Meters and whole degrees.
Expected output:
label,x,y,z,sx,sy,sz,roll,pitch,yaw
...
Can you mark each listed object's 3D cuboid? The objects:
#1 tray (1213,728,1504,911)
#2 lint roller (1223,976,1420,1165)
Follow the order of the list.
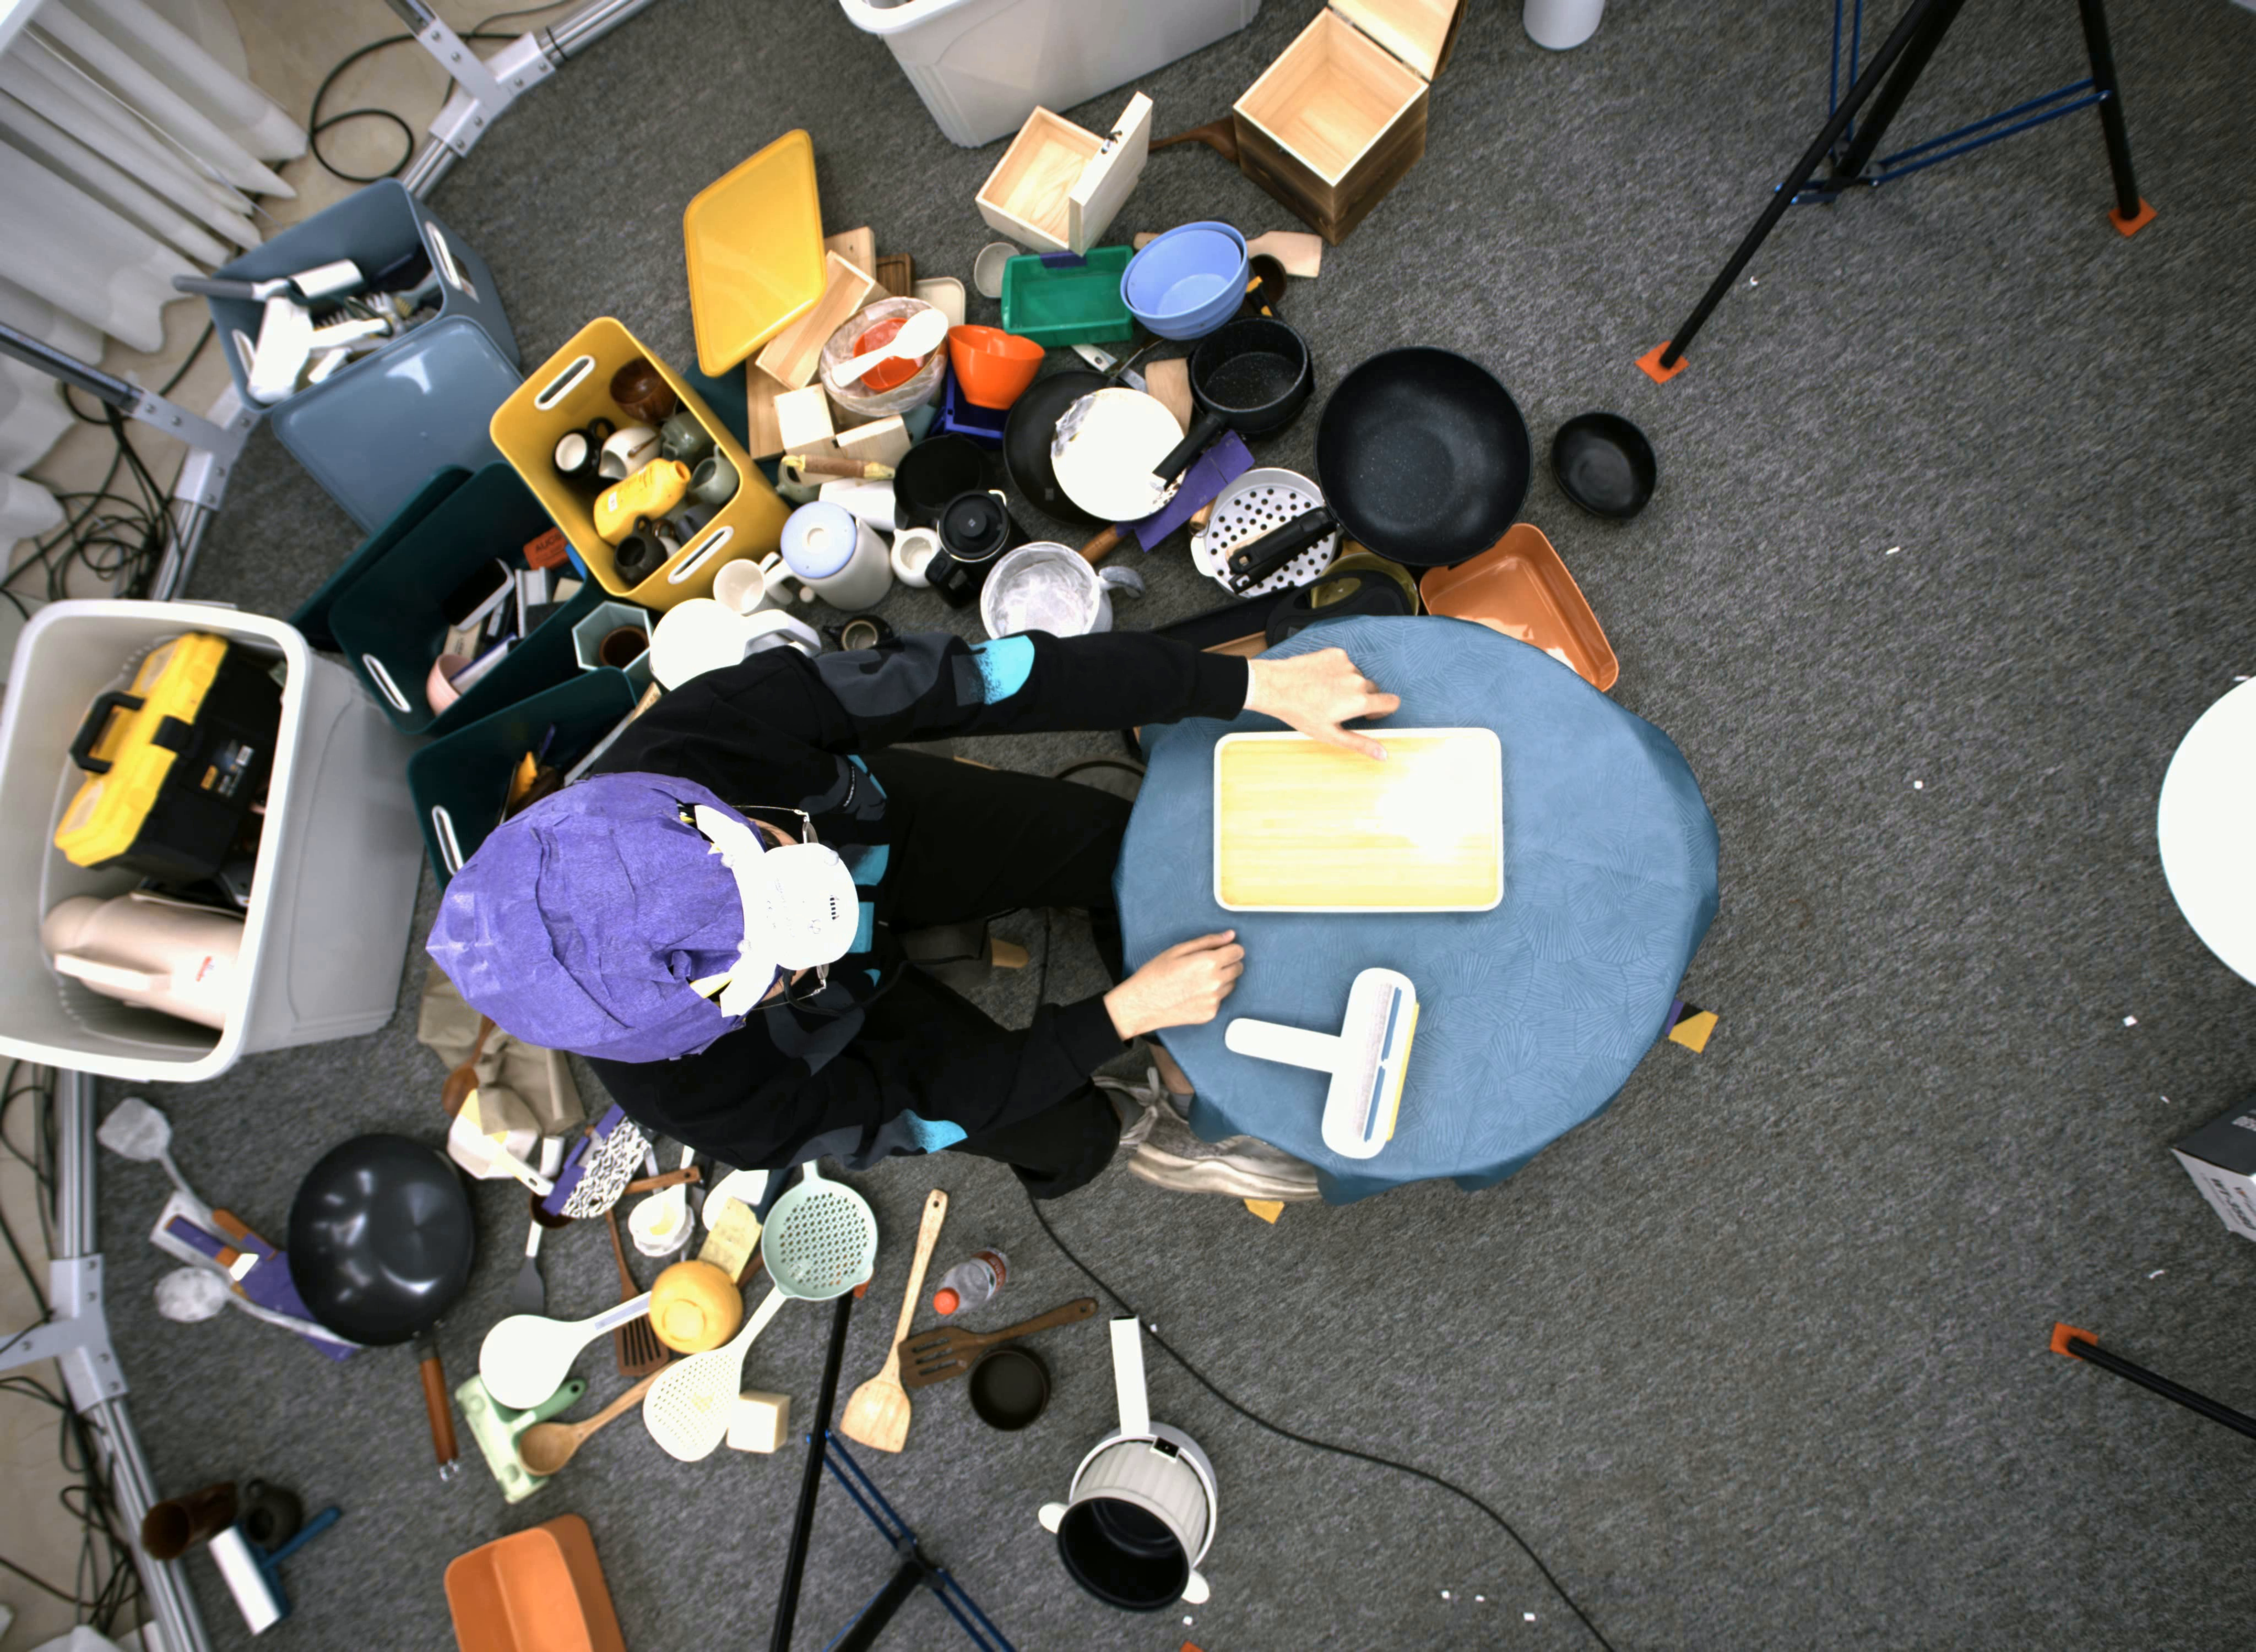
label,x,y,z,sx,sy,sz,roll,pitch,yaw
tray,0.240,-0.007,1.451,0.301,0.027,0.190,0,86,10
lint roller,0.189,0.233,1.428,0.192,0.074,0.191,15,84,12
